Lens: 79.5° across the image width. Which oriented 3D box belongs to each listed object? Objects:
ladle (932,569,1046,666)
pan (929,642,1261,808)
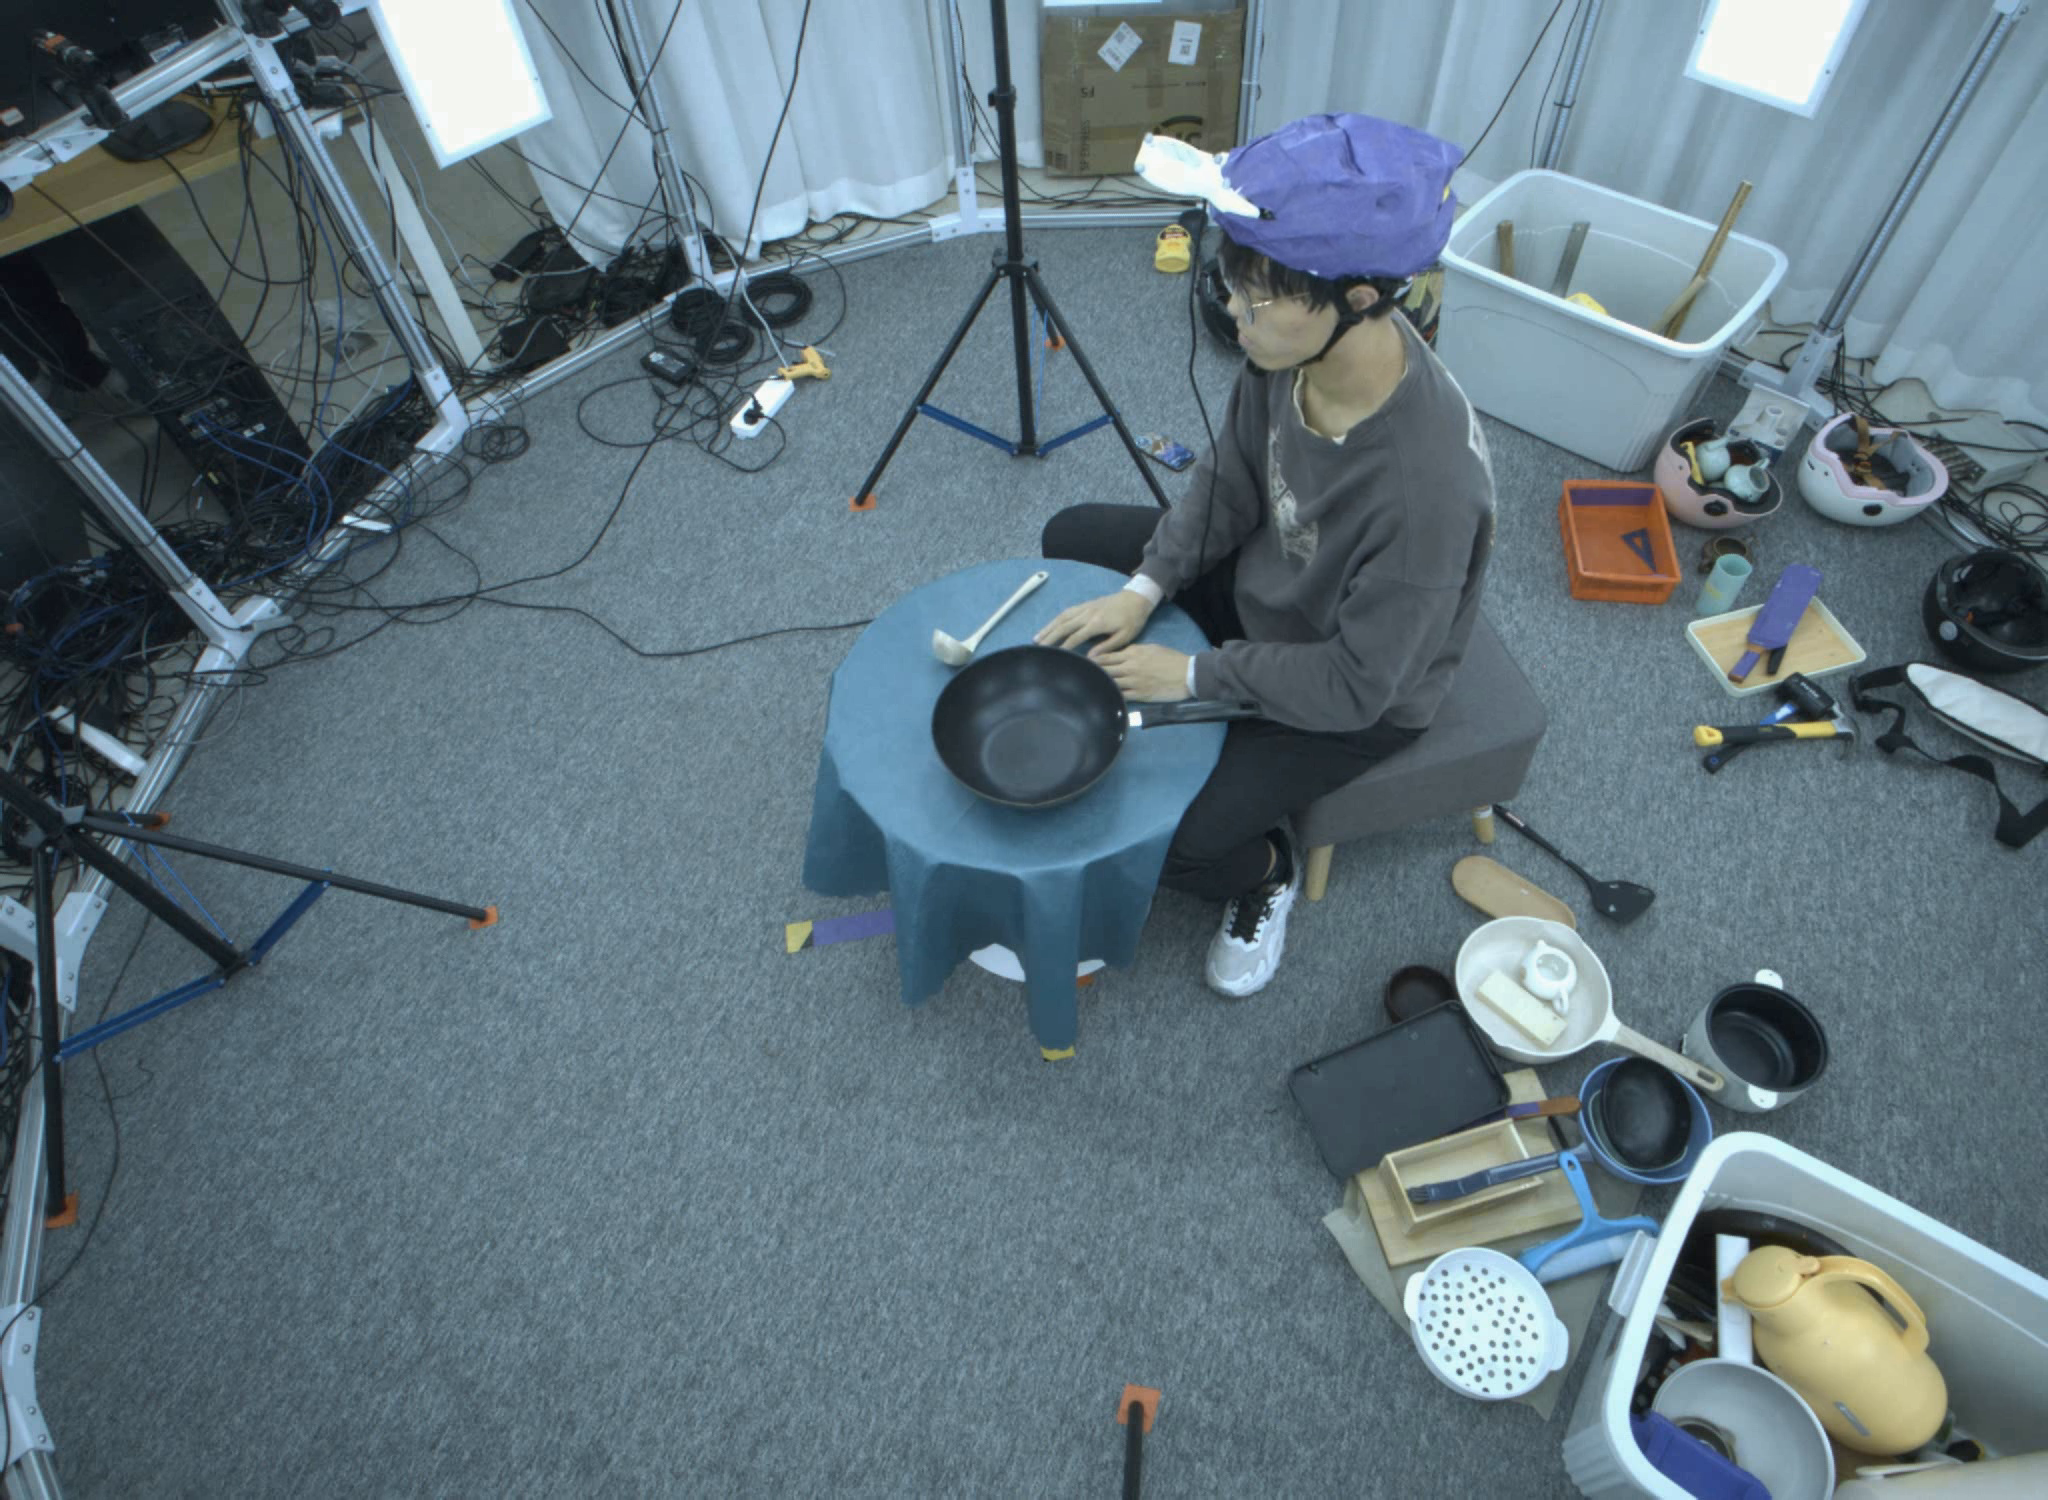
[{"bbox_3d":[-0.047,-0.228,1.905,0.071,0.074,0.255,28,61,24],"label":"ladle"},{"bbox_3d":[0.100,-0.026,1.749,0.464,0.088,0.285,-2,54,-1],"label":"pan"}]
